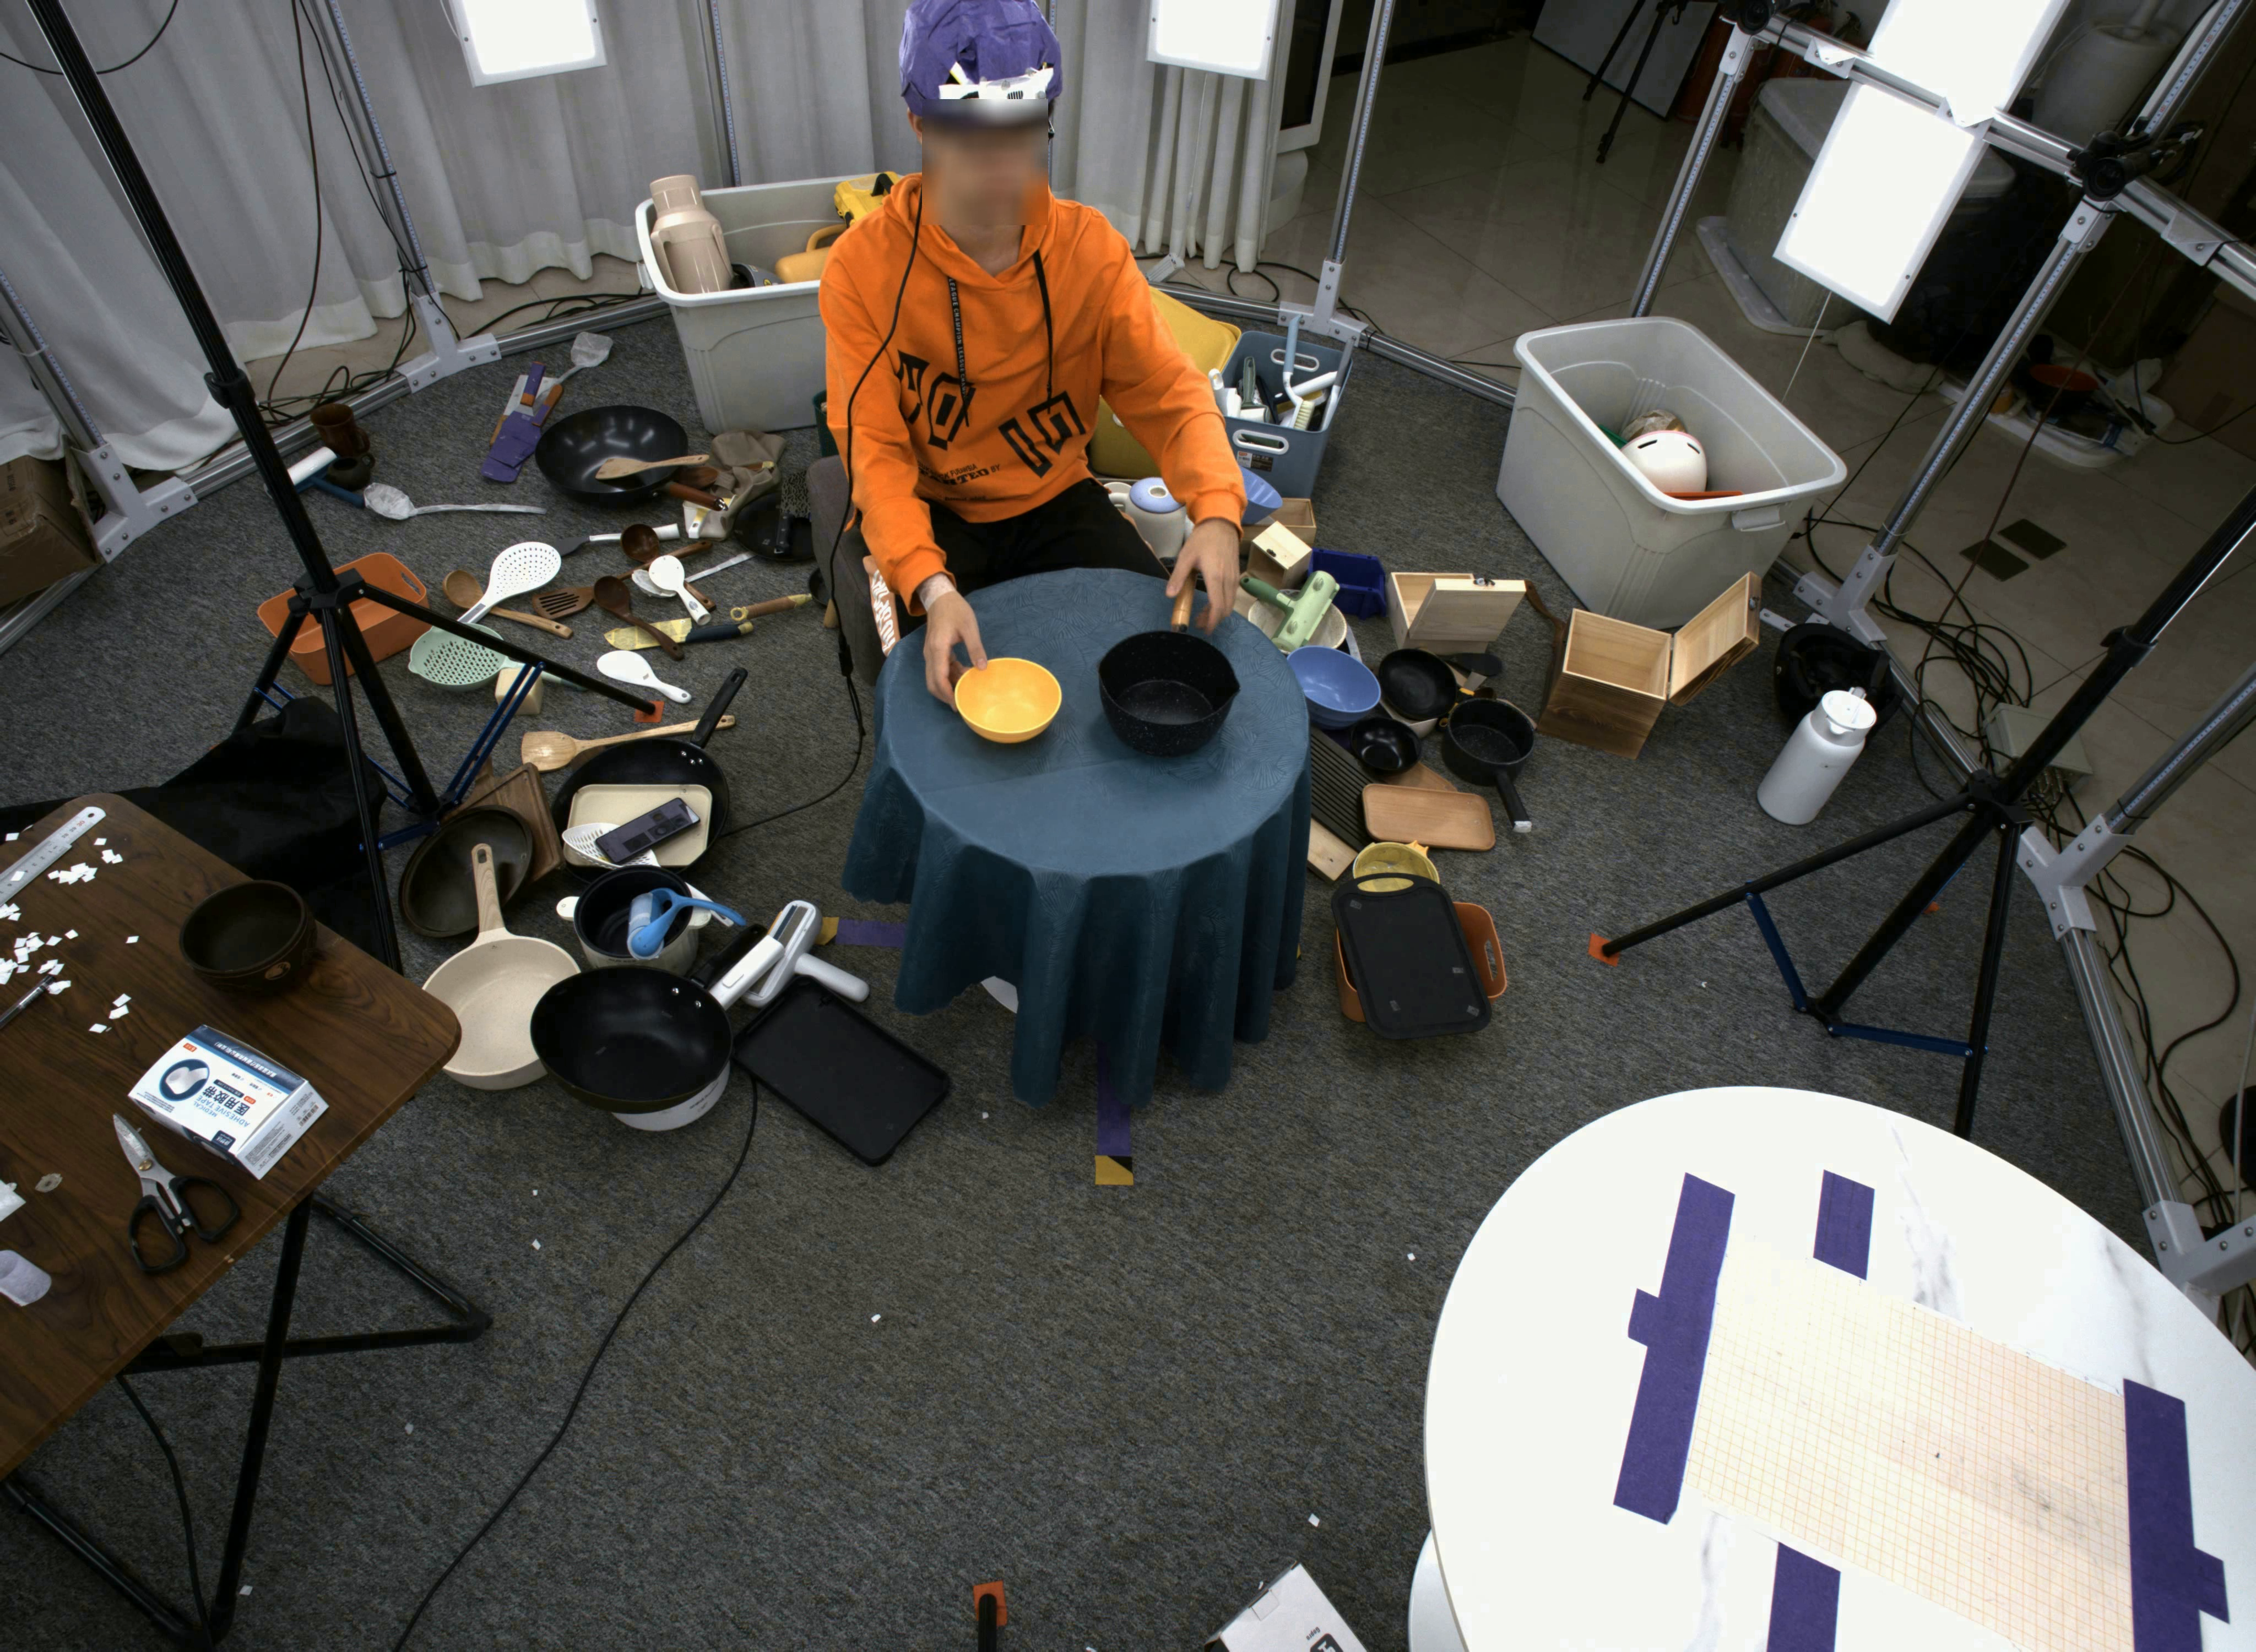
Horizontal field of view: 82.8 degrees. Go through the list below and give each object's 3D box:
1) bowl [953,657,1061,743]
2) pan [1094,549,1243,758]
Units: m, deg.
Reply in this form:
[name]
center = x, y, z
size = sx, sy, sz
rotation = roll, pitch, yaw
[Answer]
[bowl]
center = -0.165, -0.161, 1.759
size = 0.145, 0.058, 0.149
rotation = 3, 49, -3
[pan]
center = 0.064, -0.246, 1.817
size = 0.207, 0.105, 0.351
rotation = 8, 50, 4
